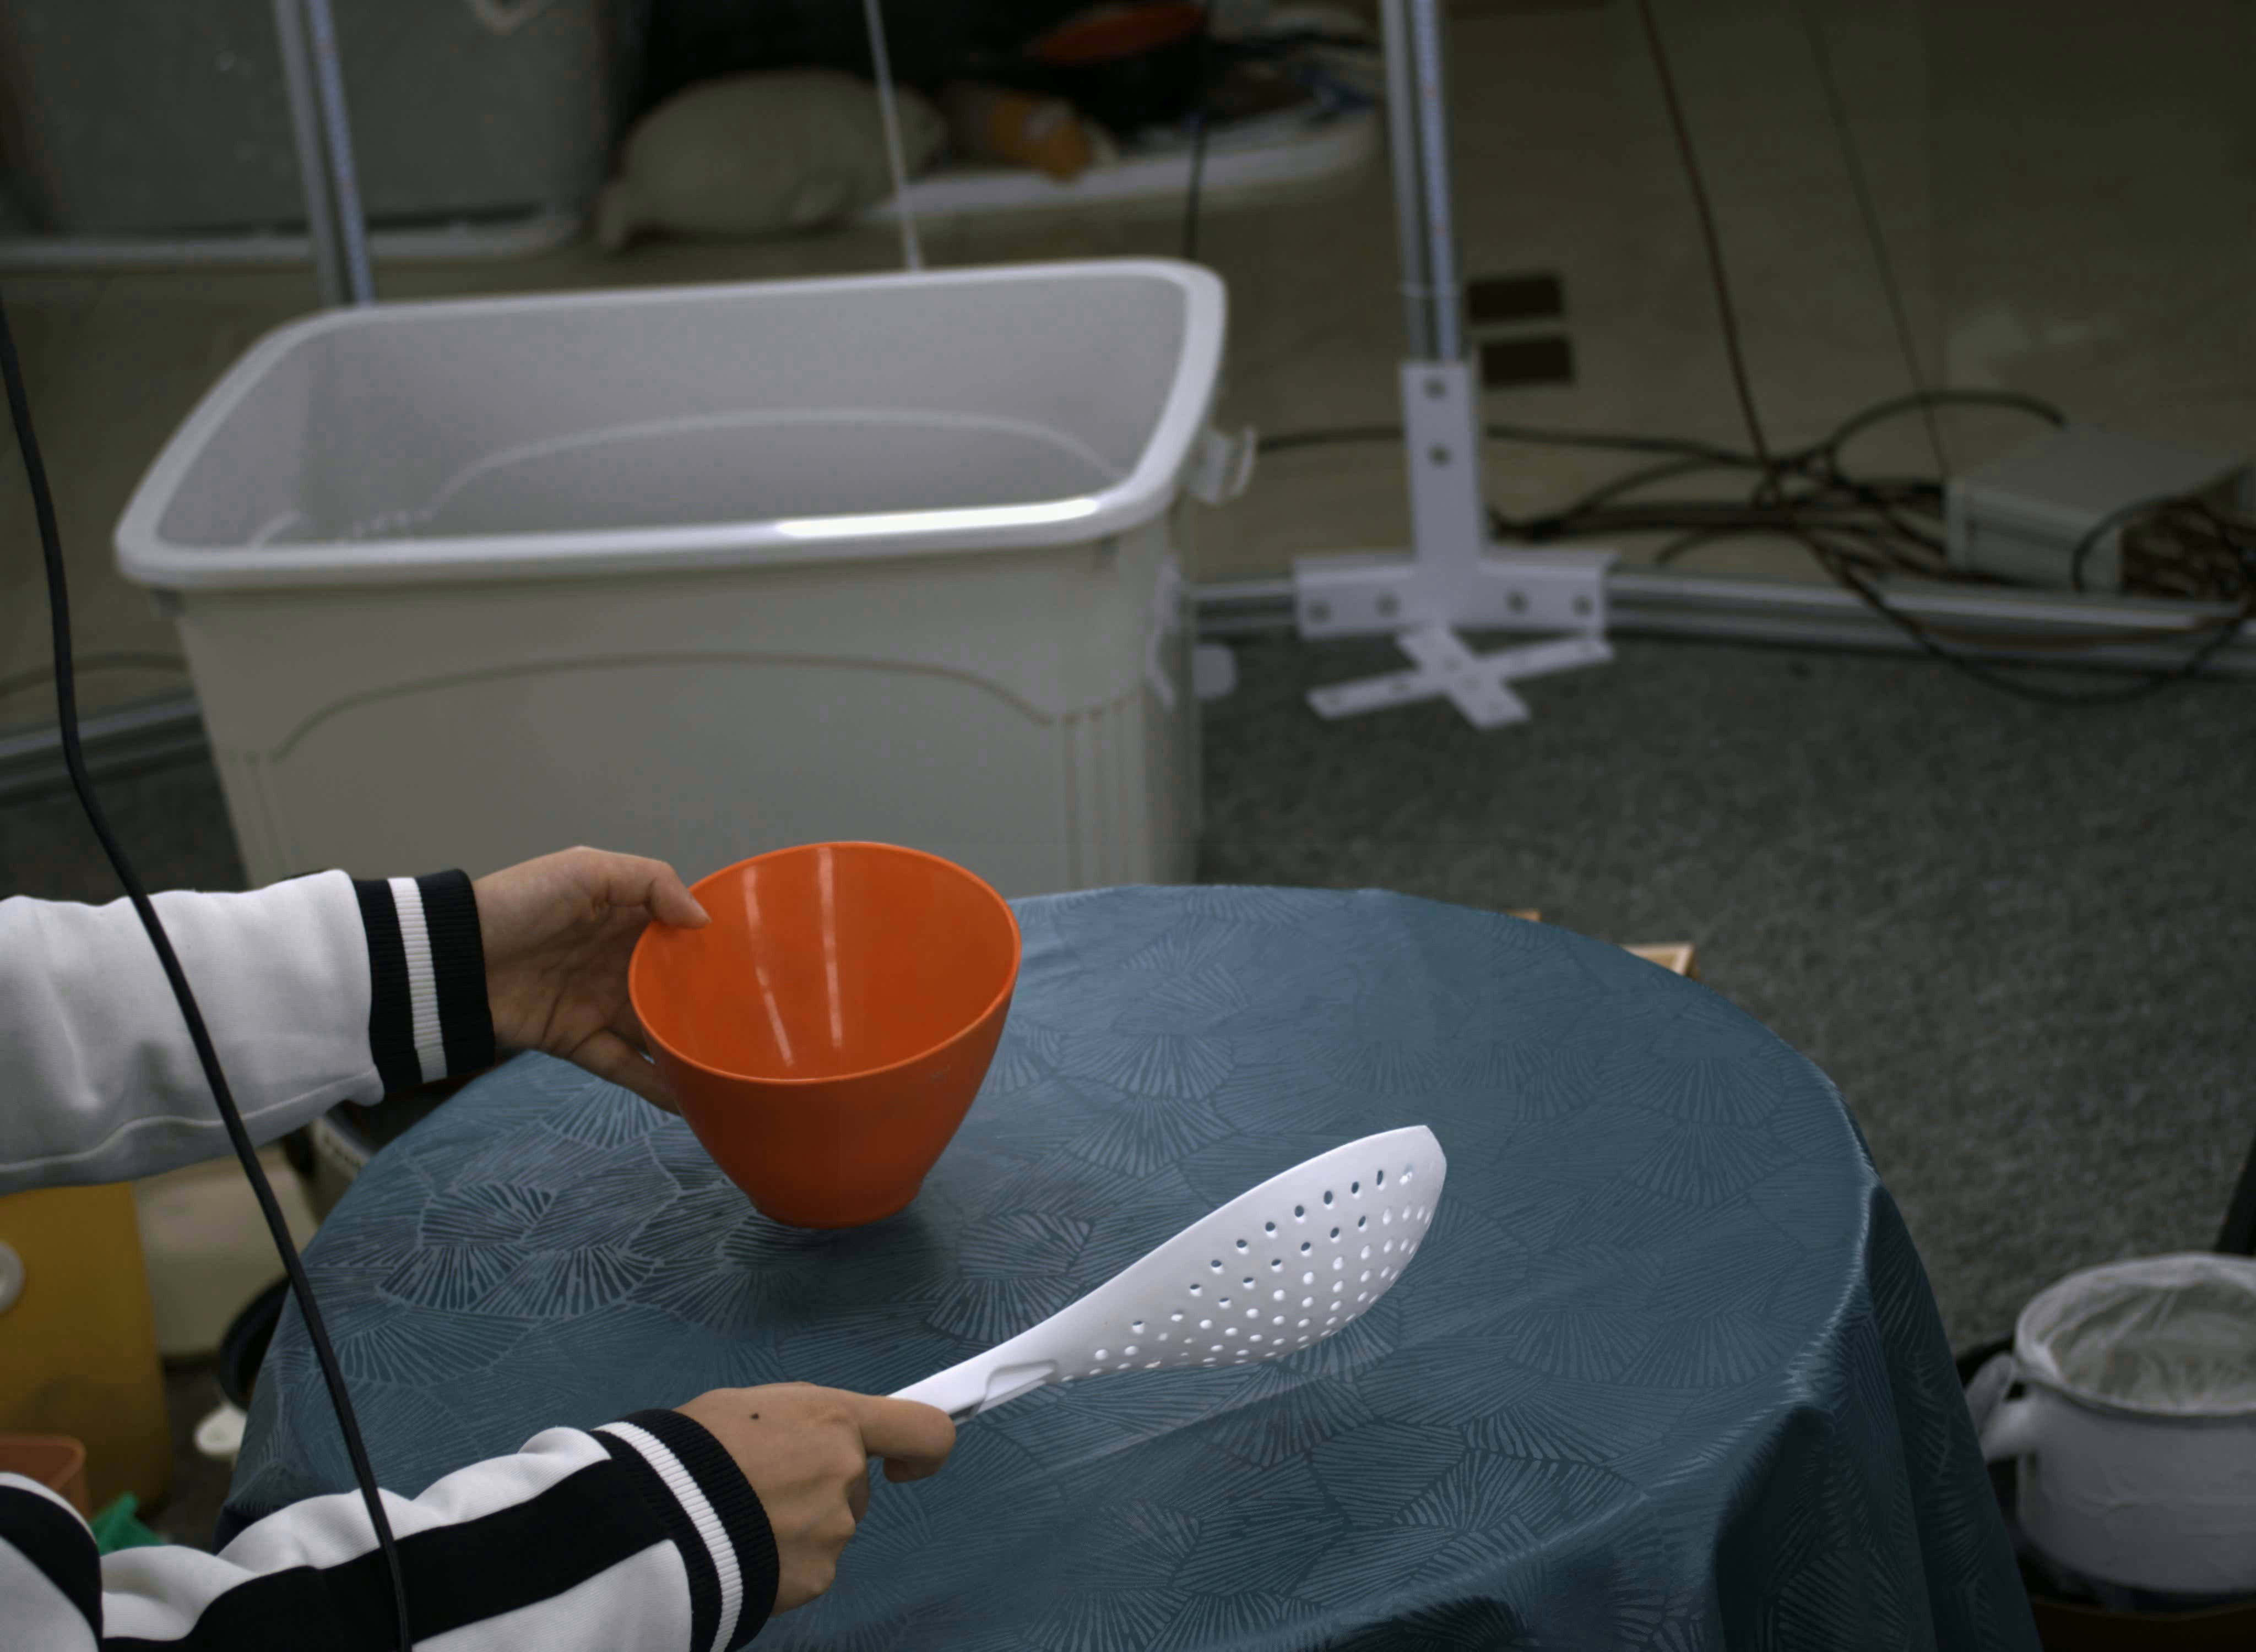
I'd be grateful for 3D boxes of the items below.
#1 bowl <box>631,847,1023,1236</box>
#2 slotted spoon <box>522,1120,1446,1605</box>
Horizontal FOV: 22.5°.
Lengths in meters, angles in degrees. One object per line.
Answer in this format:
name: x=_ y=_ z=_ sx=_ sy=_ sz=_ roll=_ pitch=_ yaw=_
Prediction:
bowl: x=-0.112 y=0.088 z=2.138 sx=0.148 sy=0.106 sz=0.145 roll=-1 pitch=28 yaw=1
slotted spoon: x=-0.042 y=0.182 z=1.889 sx=0.348 sy=0.138 sz=0.045 roll=-17 pitch=69 yaw=-19
